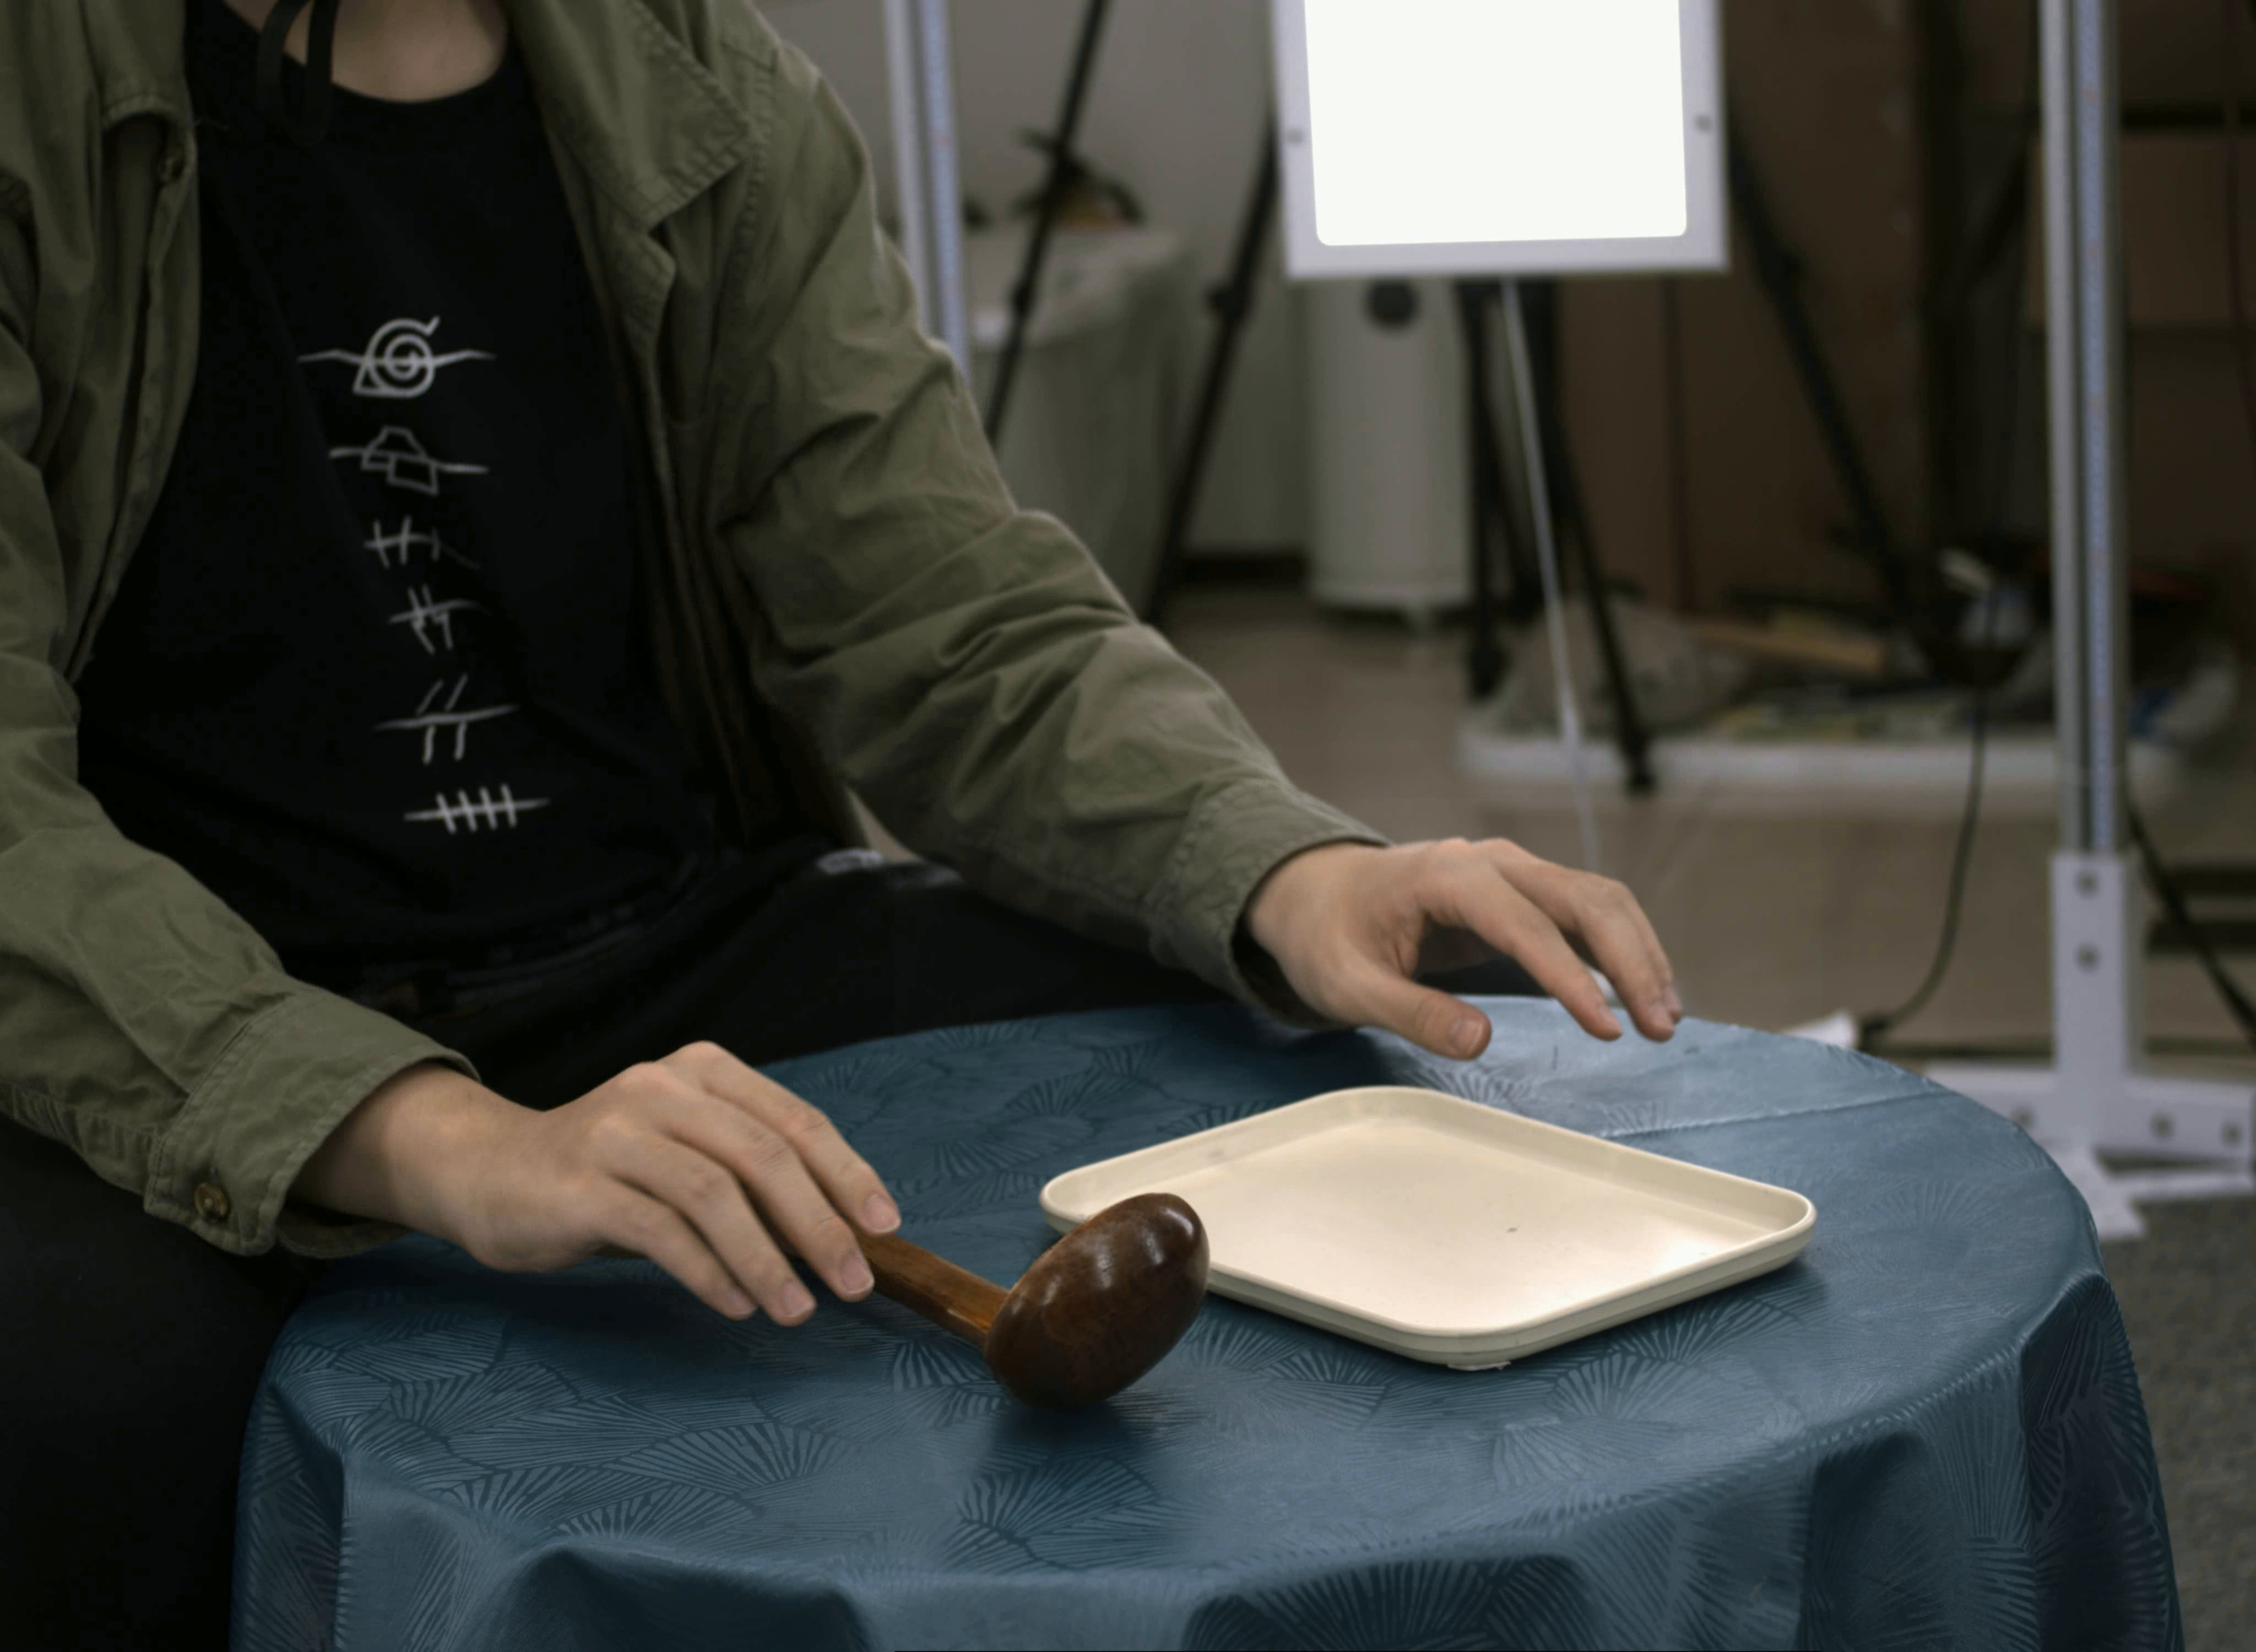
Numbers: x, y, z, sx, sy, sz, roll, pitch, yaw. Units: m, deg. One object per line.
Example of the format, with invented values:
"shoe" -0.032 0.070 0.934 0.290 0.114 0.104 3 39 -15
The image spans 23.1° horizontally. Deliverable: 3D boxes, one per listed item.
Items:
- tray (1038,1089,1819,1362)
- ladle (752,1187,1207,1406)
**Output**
"tray" 0.097 0.130 1.806 0.167 0.017 0.244 -14 16 -34
"ladle" -0.064 0.127 1.755 0.080 0.077 0.279 -24 20 -24
